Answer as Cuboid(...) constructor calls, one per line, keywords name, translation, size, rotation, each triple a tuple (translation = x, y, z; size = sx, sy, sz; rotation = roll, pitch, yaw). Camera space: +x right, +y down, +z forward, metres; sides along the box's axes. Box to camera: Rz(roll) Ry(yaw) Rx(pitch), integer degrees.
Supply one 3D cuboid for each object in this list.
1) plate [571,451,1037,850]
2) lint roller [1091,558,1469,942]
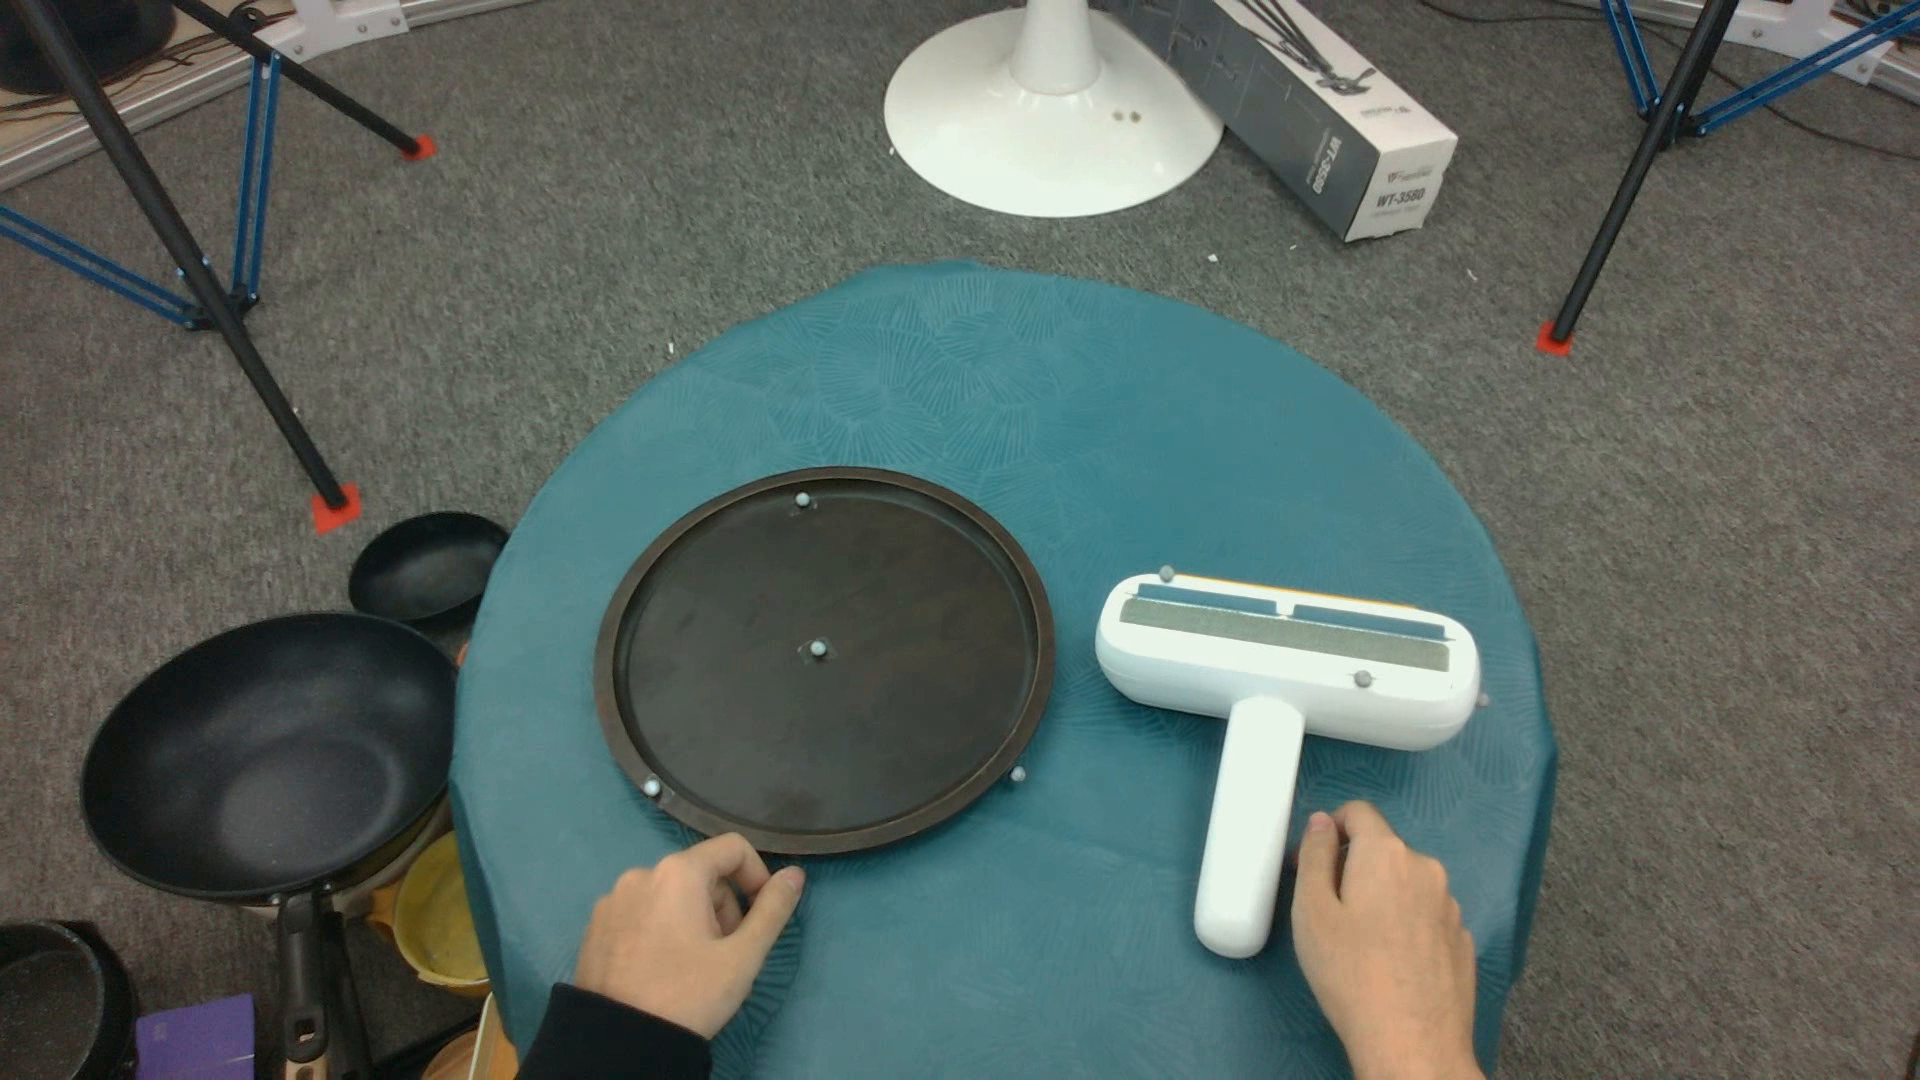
Cuboid(name="plate", translation=(-0.084, 0.053, 0.758), size=(0.255, 0.029, 0.256), rotation=(0, 54, 0))
Cuboid(name="lint roller", translation=(0.144, 0.105, 0.694), size=(0.192, 0.074, 0.193), rotation=(14, 55, 17))
